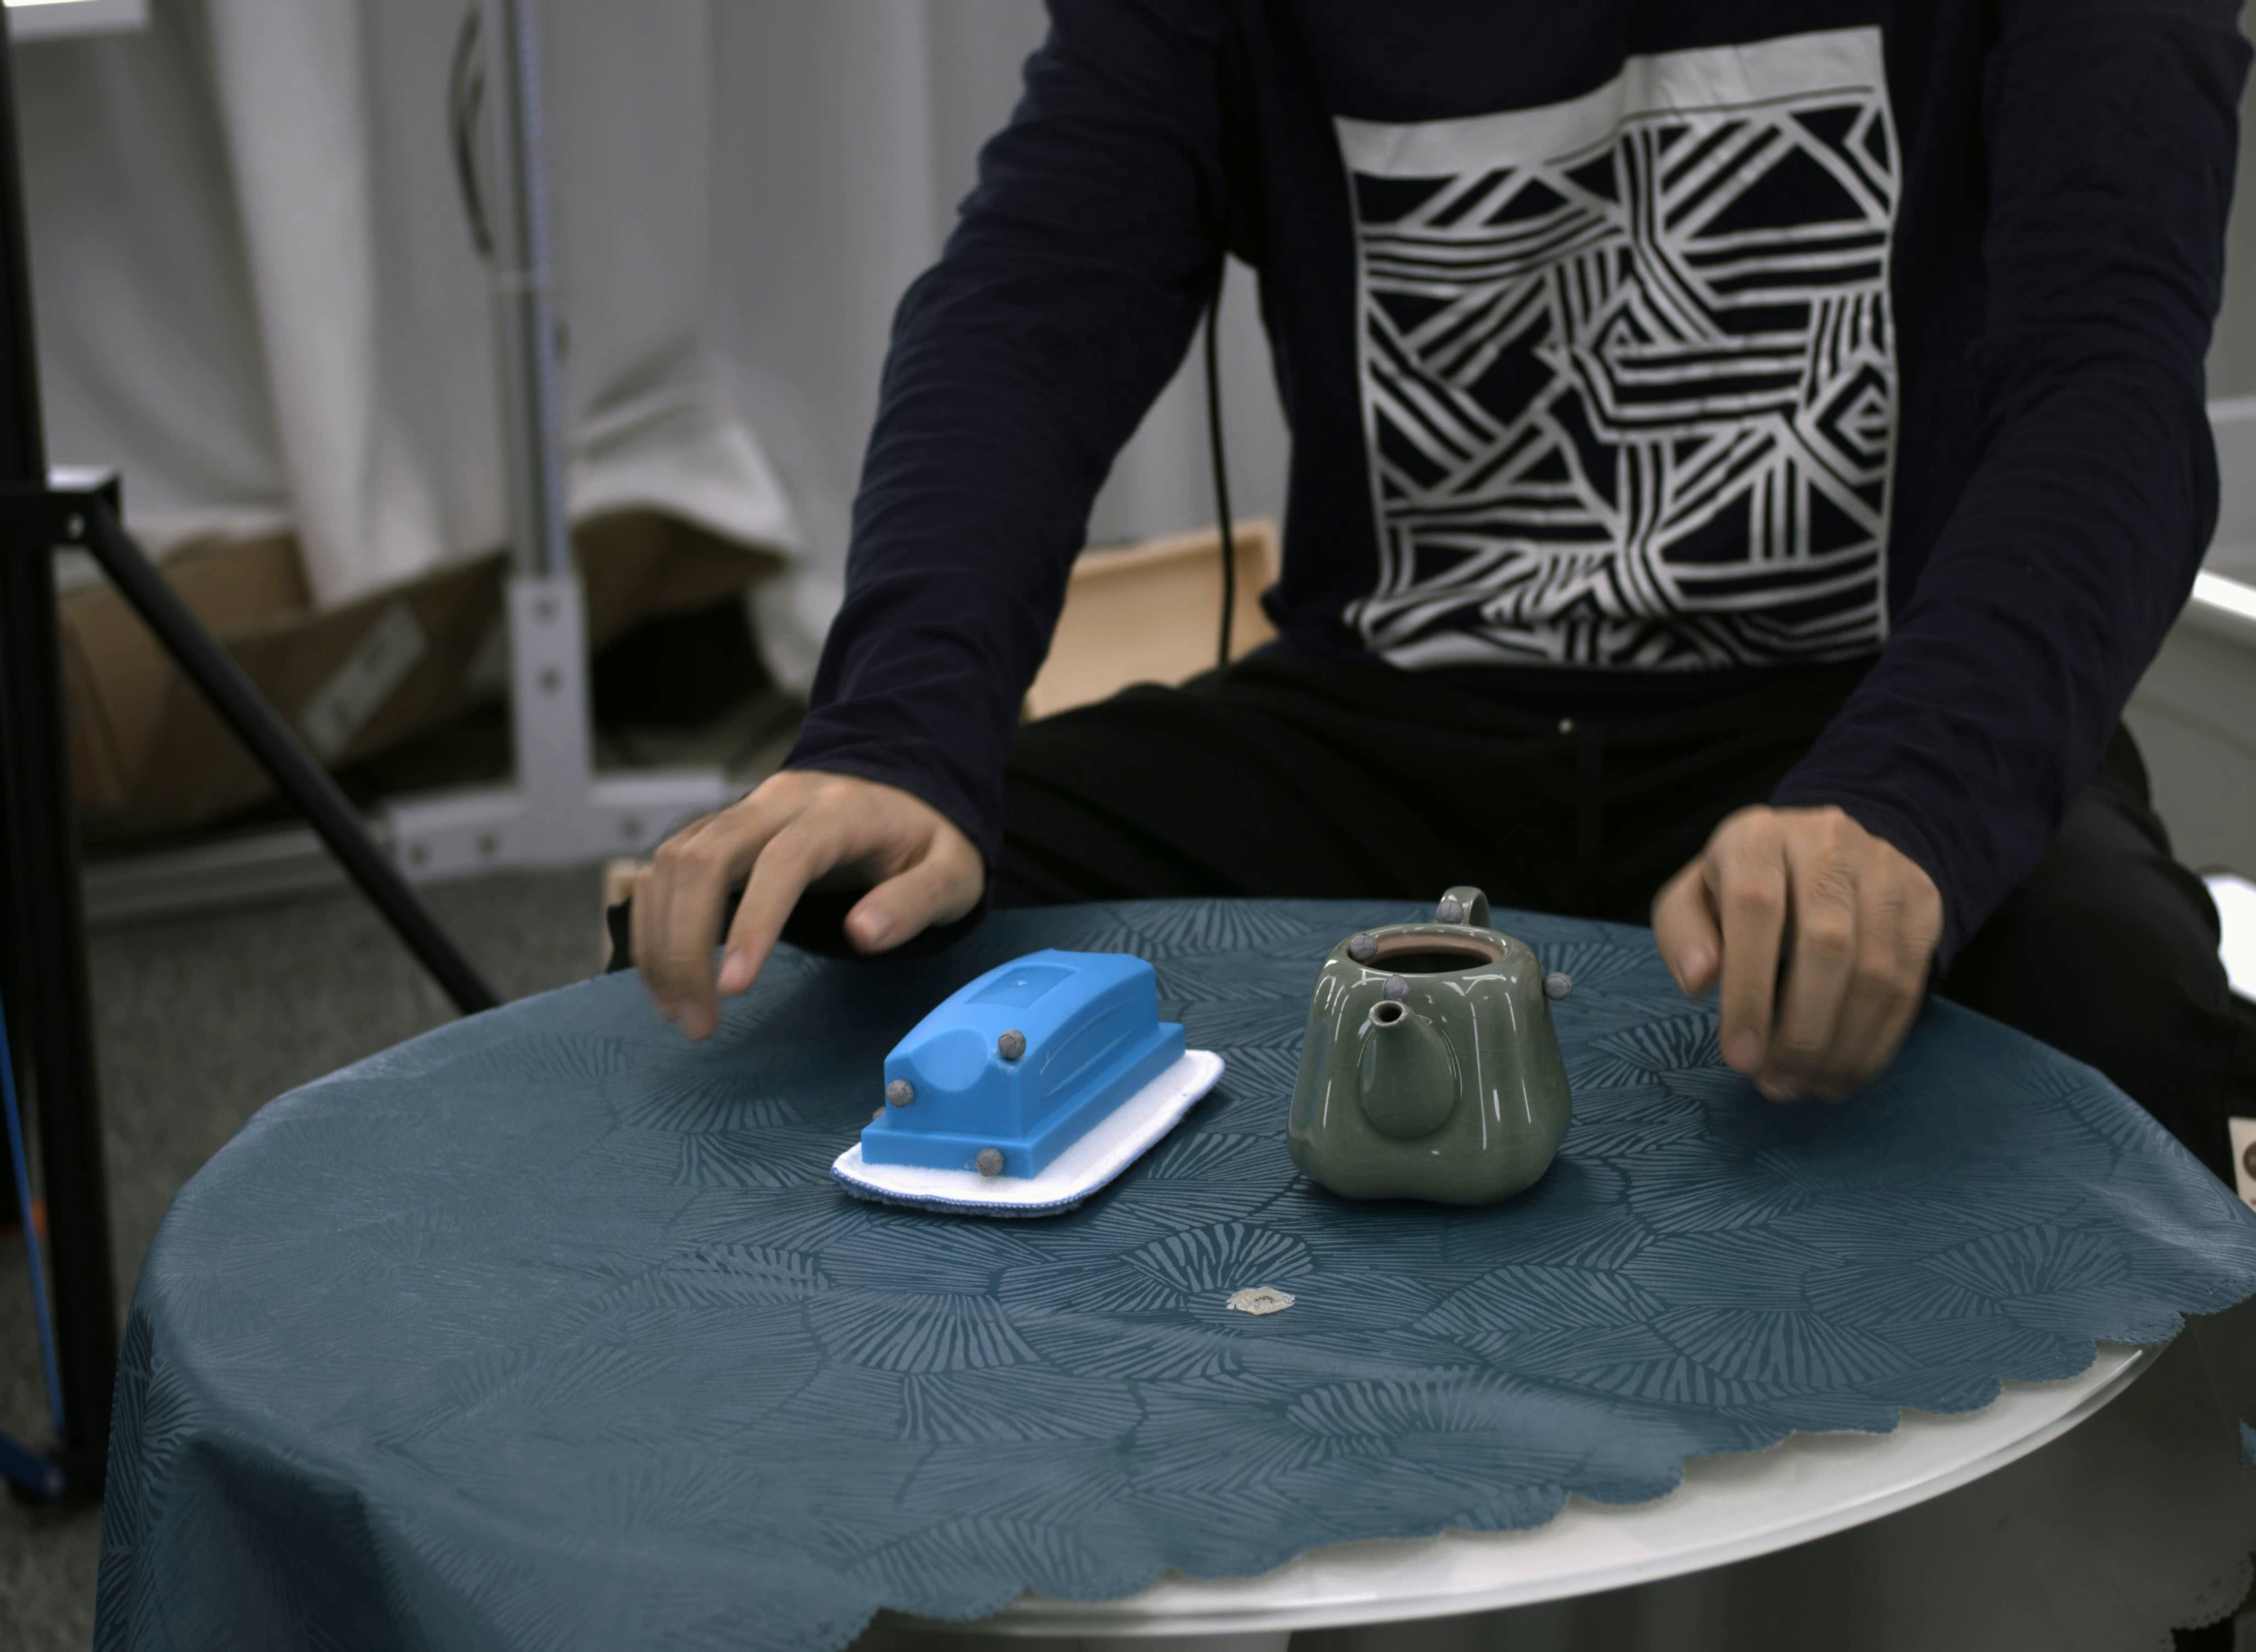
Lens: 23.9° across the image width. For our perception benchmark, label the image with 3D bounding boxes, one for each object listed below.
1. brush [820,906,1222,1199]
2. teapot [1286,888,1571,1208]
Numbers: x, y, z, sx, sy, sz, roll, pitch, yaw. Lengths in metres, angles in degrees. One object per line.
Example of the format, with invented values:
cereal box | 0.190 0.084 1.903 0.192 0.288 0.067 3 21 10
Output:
brush | -0.030 0.064 1.606 0.085 0.056 0.142 9 22 23
teapot | 0.088 0.068 1.554 0.080 0.075 0.131 2 15 15
